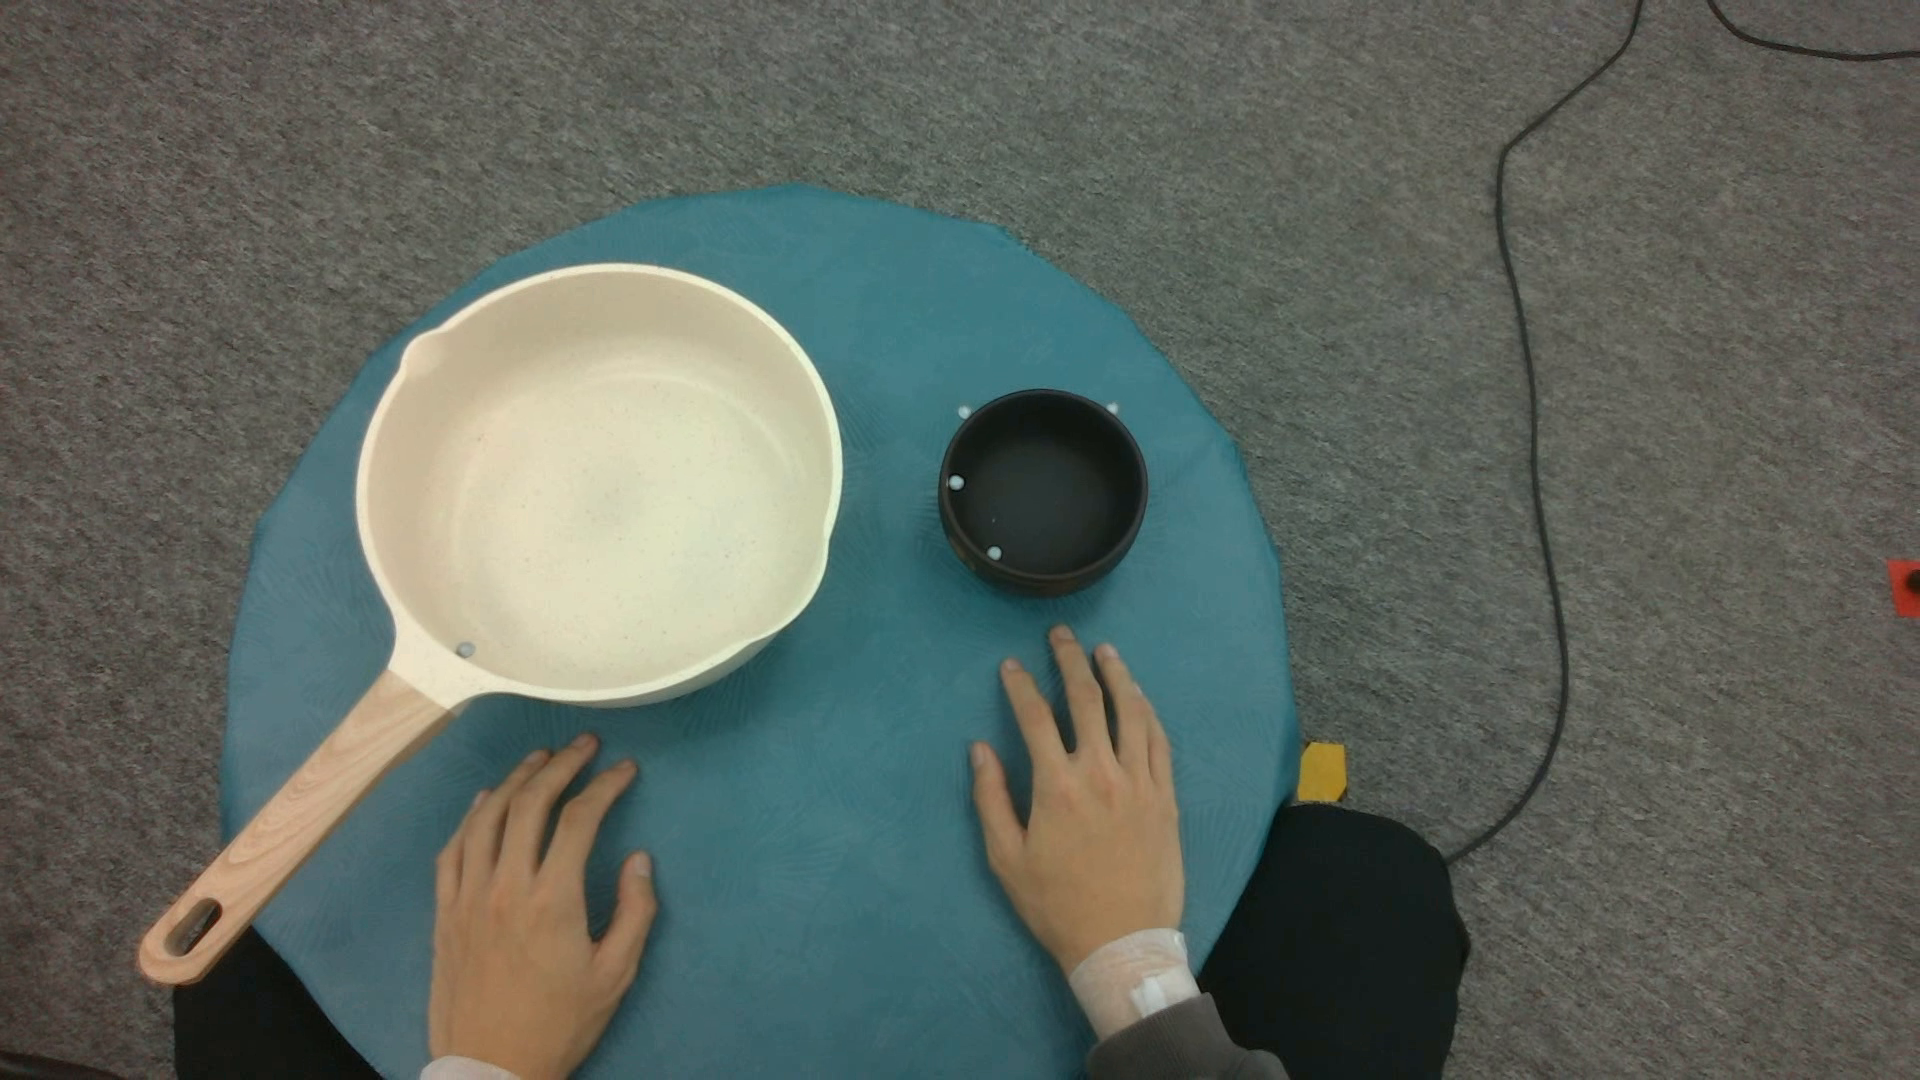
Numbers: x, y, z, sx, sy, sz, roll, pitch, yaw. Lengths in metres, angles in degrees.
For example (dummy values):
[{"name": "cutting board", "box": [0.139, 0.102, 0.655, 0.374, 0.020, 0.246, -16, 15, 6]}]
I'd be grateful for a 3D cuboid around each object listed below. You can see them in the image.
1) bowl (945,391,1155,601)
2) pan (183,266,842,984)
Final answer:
[{"name": "bowl", "box": [0.050, -0.020, 0.796, 0.118, 0.069, 0.118, 1, 71, -2]}, {"name": "pan", "box": [-0.241, 0.045, 0.747, 0.263, 0.101, 0.436, 32, 72, 8]}]
